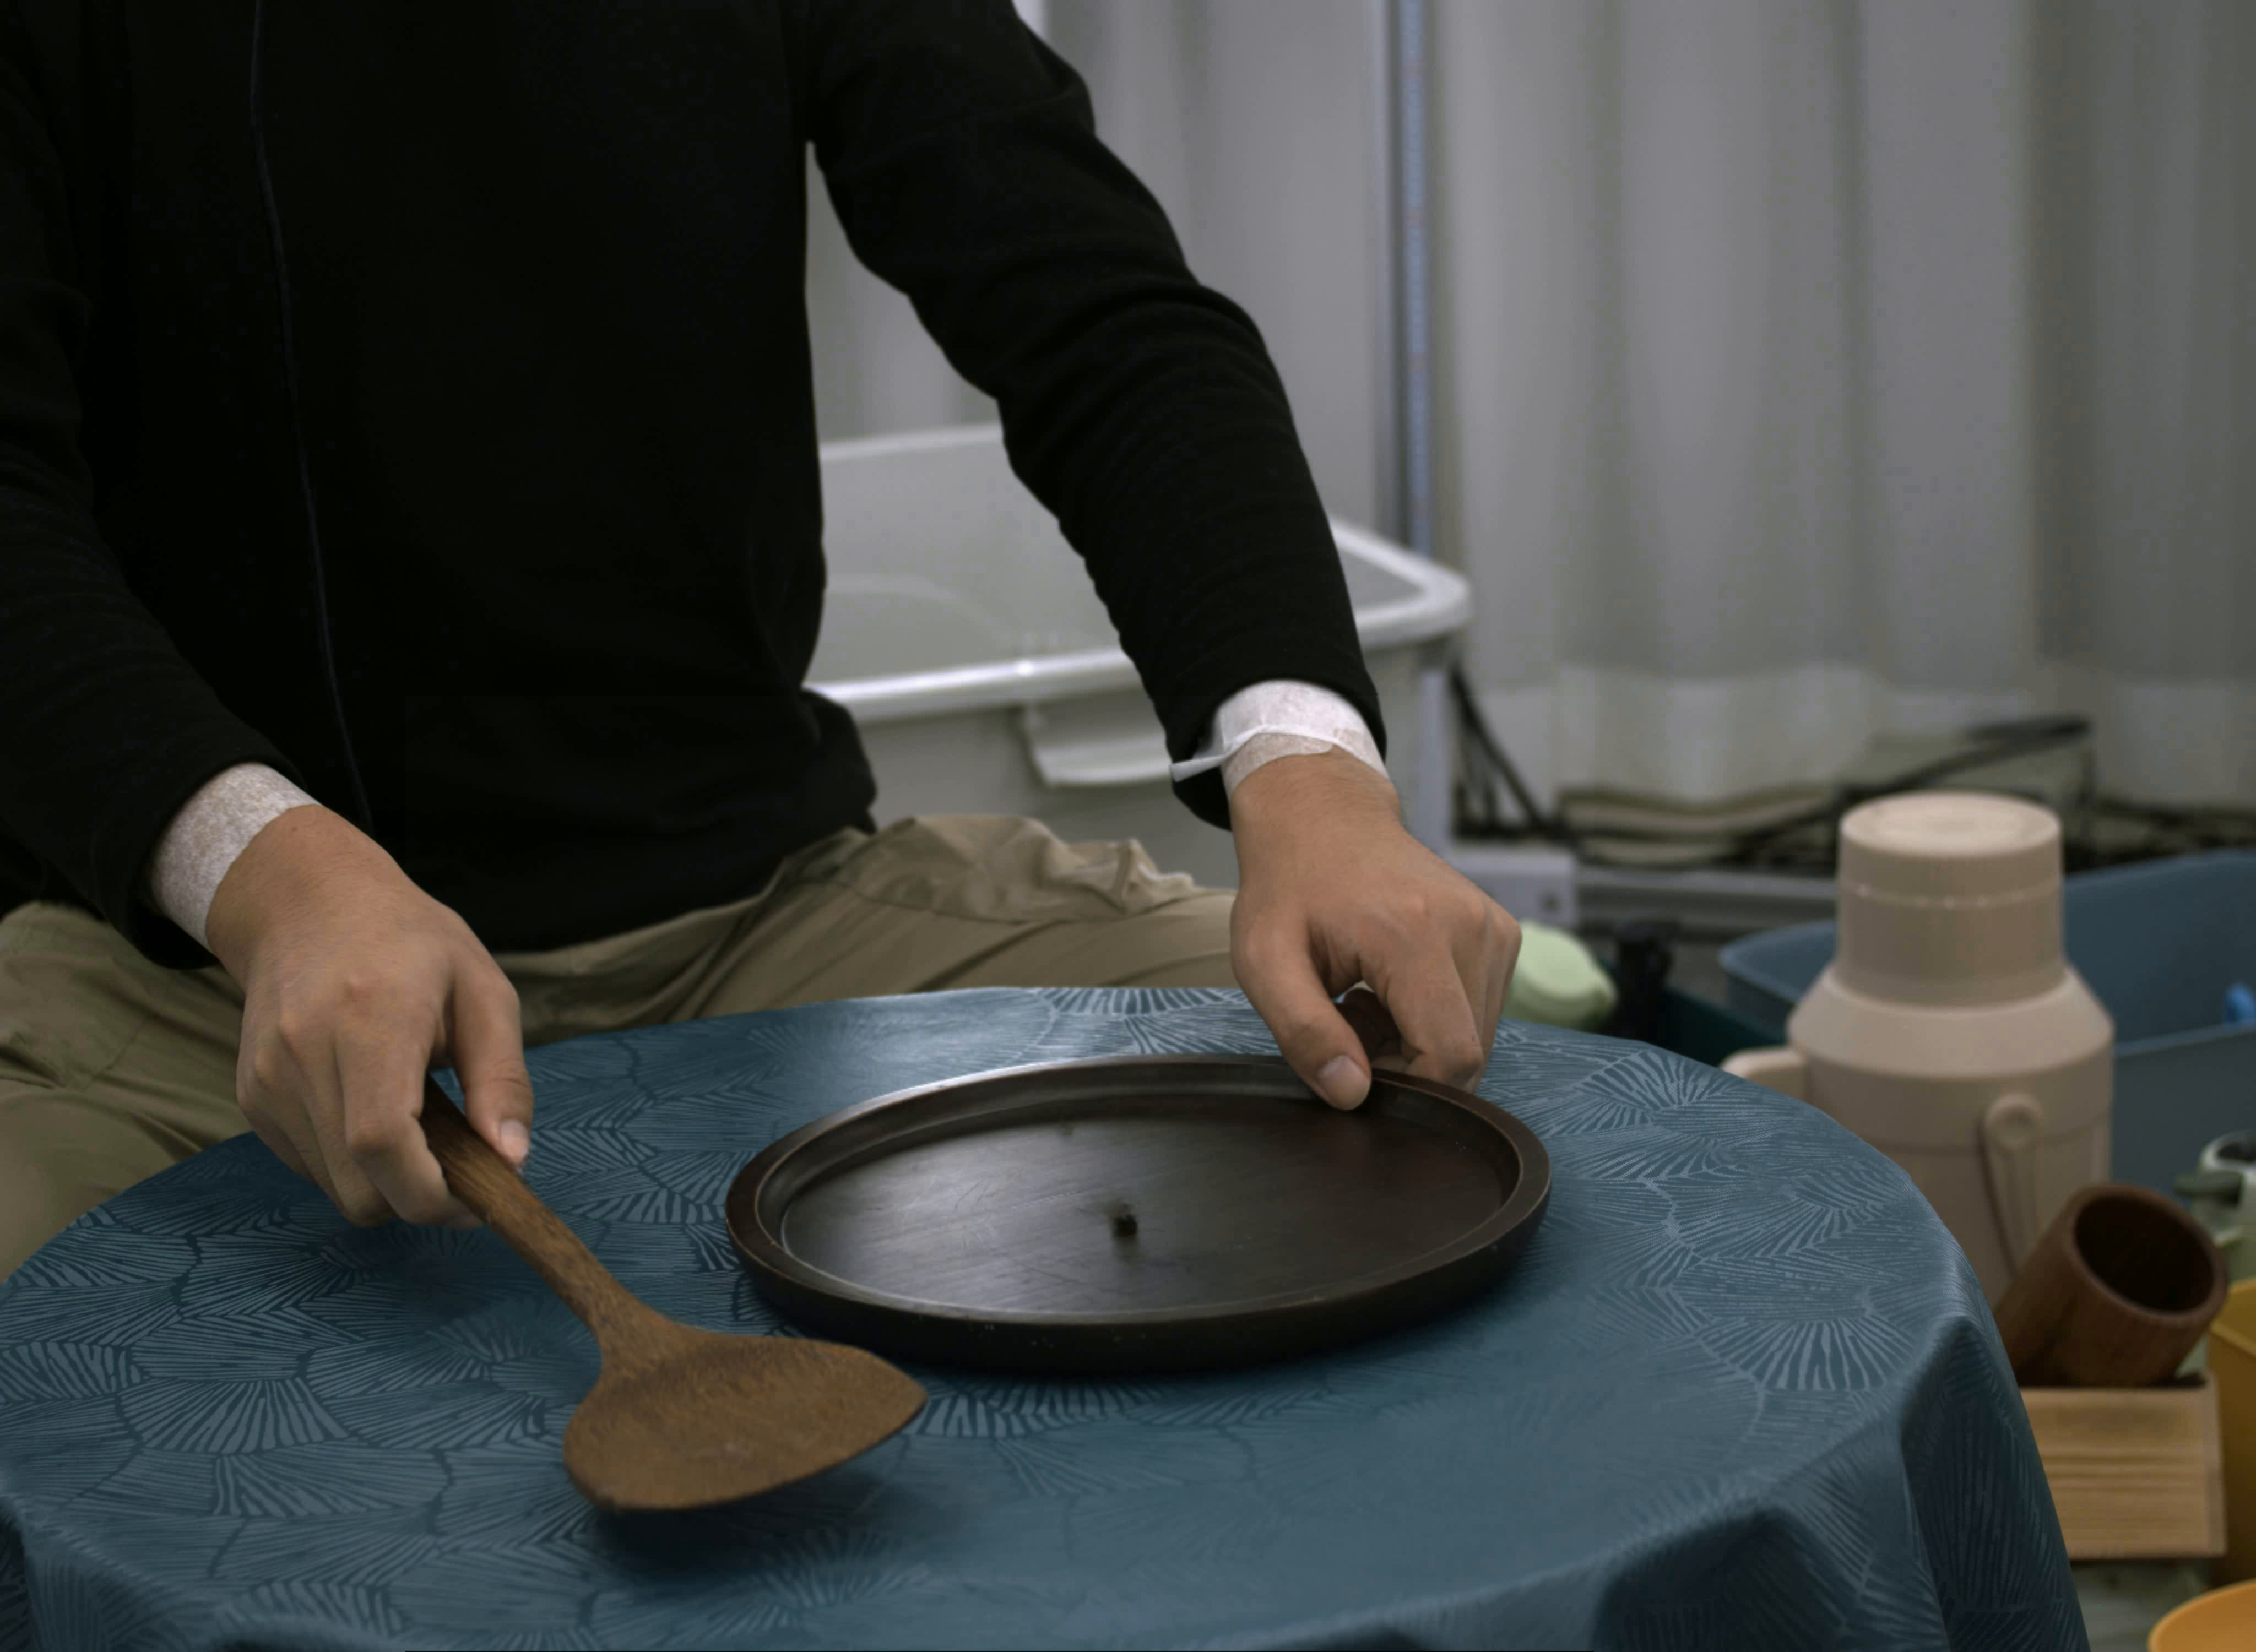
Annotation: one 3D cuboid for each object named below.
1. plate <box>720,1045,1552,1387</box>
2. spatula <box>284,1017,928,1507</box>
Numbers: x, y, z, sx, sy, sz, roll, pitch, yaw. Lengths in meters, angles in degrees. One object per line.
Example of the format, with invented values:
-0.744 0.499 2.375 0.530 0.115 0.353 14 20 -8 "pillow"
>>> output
0.002 0.118 1.661 0.254 0.029 0.256 -2 16 0 "plate"
-0.174 0.117 1.591 0.096 0.015 0.389 -17 24 -23 "spatula"
